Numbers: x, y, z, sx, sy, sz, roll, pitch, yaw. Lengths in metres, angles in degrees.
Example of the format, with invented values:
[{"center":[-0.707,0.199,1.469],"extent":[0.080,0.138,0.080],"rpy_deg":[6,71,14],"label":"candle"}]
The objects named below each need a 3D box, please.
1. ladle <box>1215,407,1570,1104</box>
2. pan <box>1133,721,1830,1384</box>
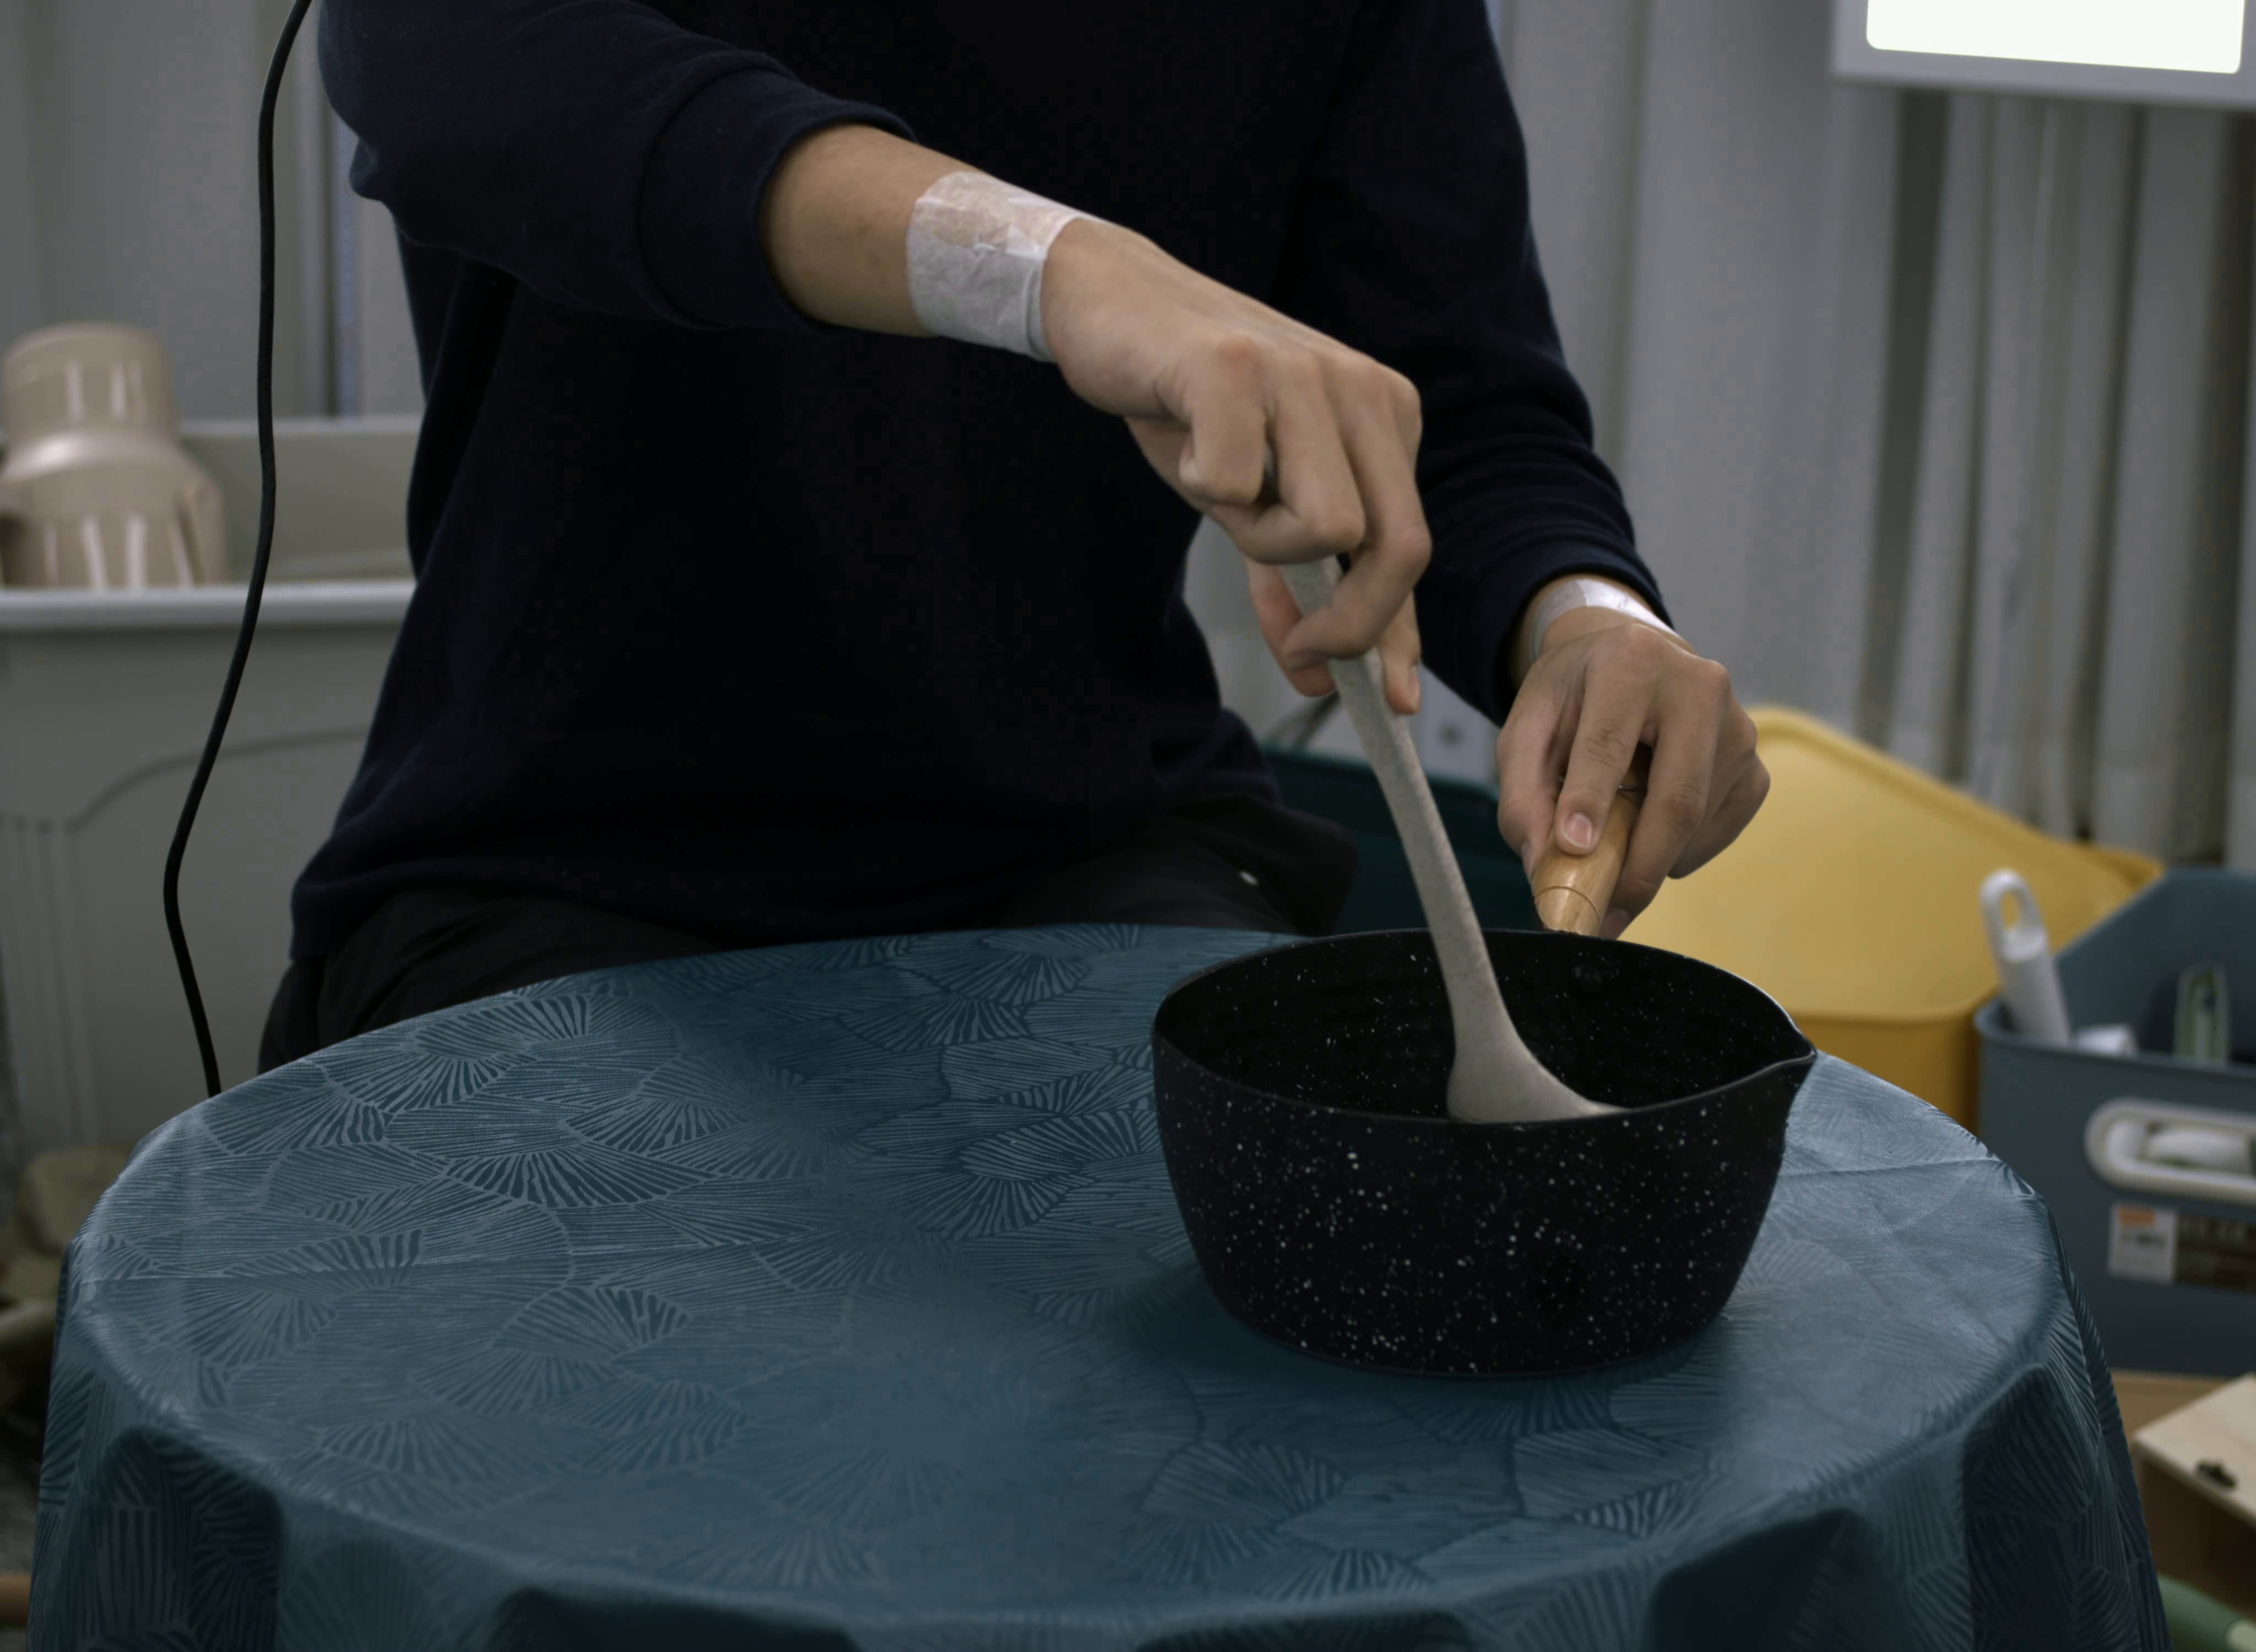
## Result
[{"center":[0.095,-0.008,1.492],"extent":[0.069,0.278,0.088],"rpy_deg":[-31,25,-23],"label":"ladle"},{"center":[0.118,0.063,1.600],"extent":[0.206,0.109,0.342],"rpy_deg":[3,17,13],"label":"pan"}]
